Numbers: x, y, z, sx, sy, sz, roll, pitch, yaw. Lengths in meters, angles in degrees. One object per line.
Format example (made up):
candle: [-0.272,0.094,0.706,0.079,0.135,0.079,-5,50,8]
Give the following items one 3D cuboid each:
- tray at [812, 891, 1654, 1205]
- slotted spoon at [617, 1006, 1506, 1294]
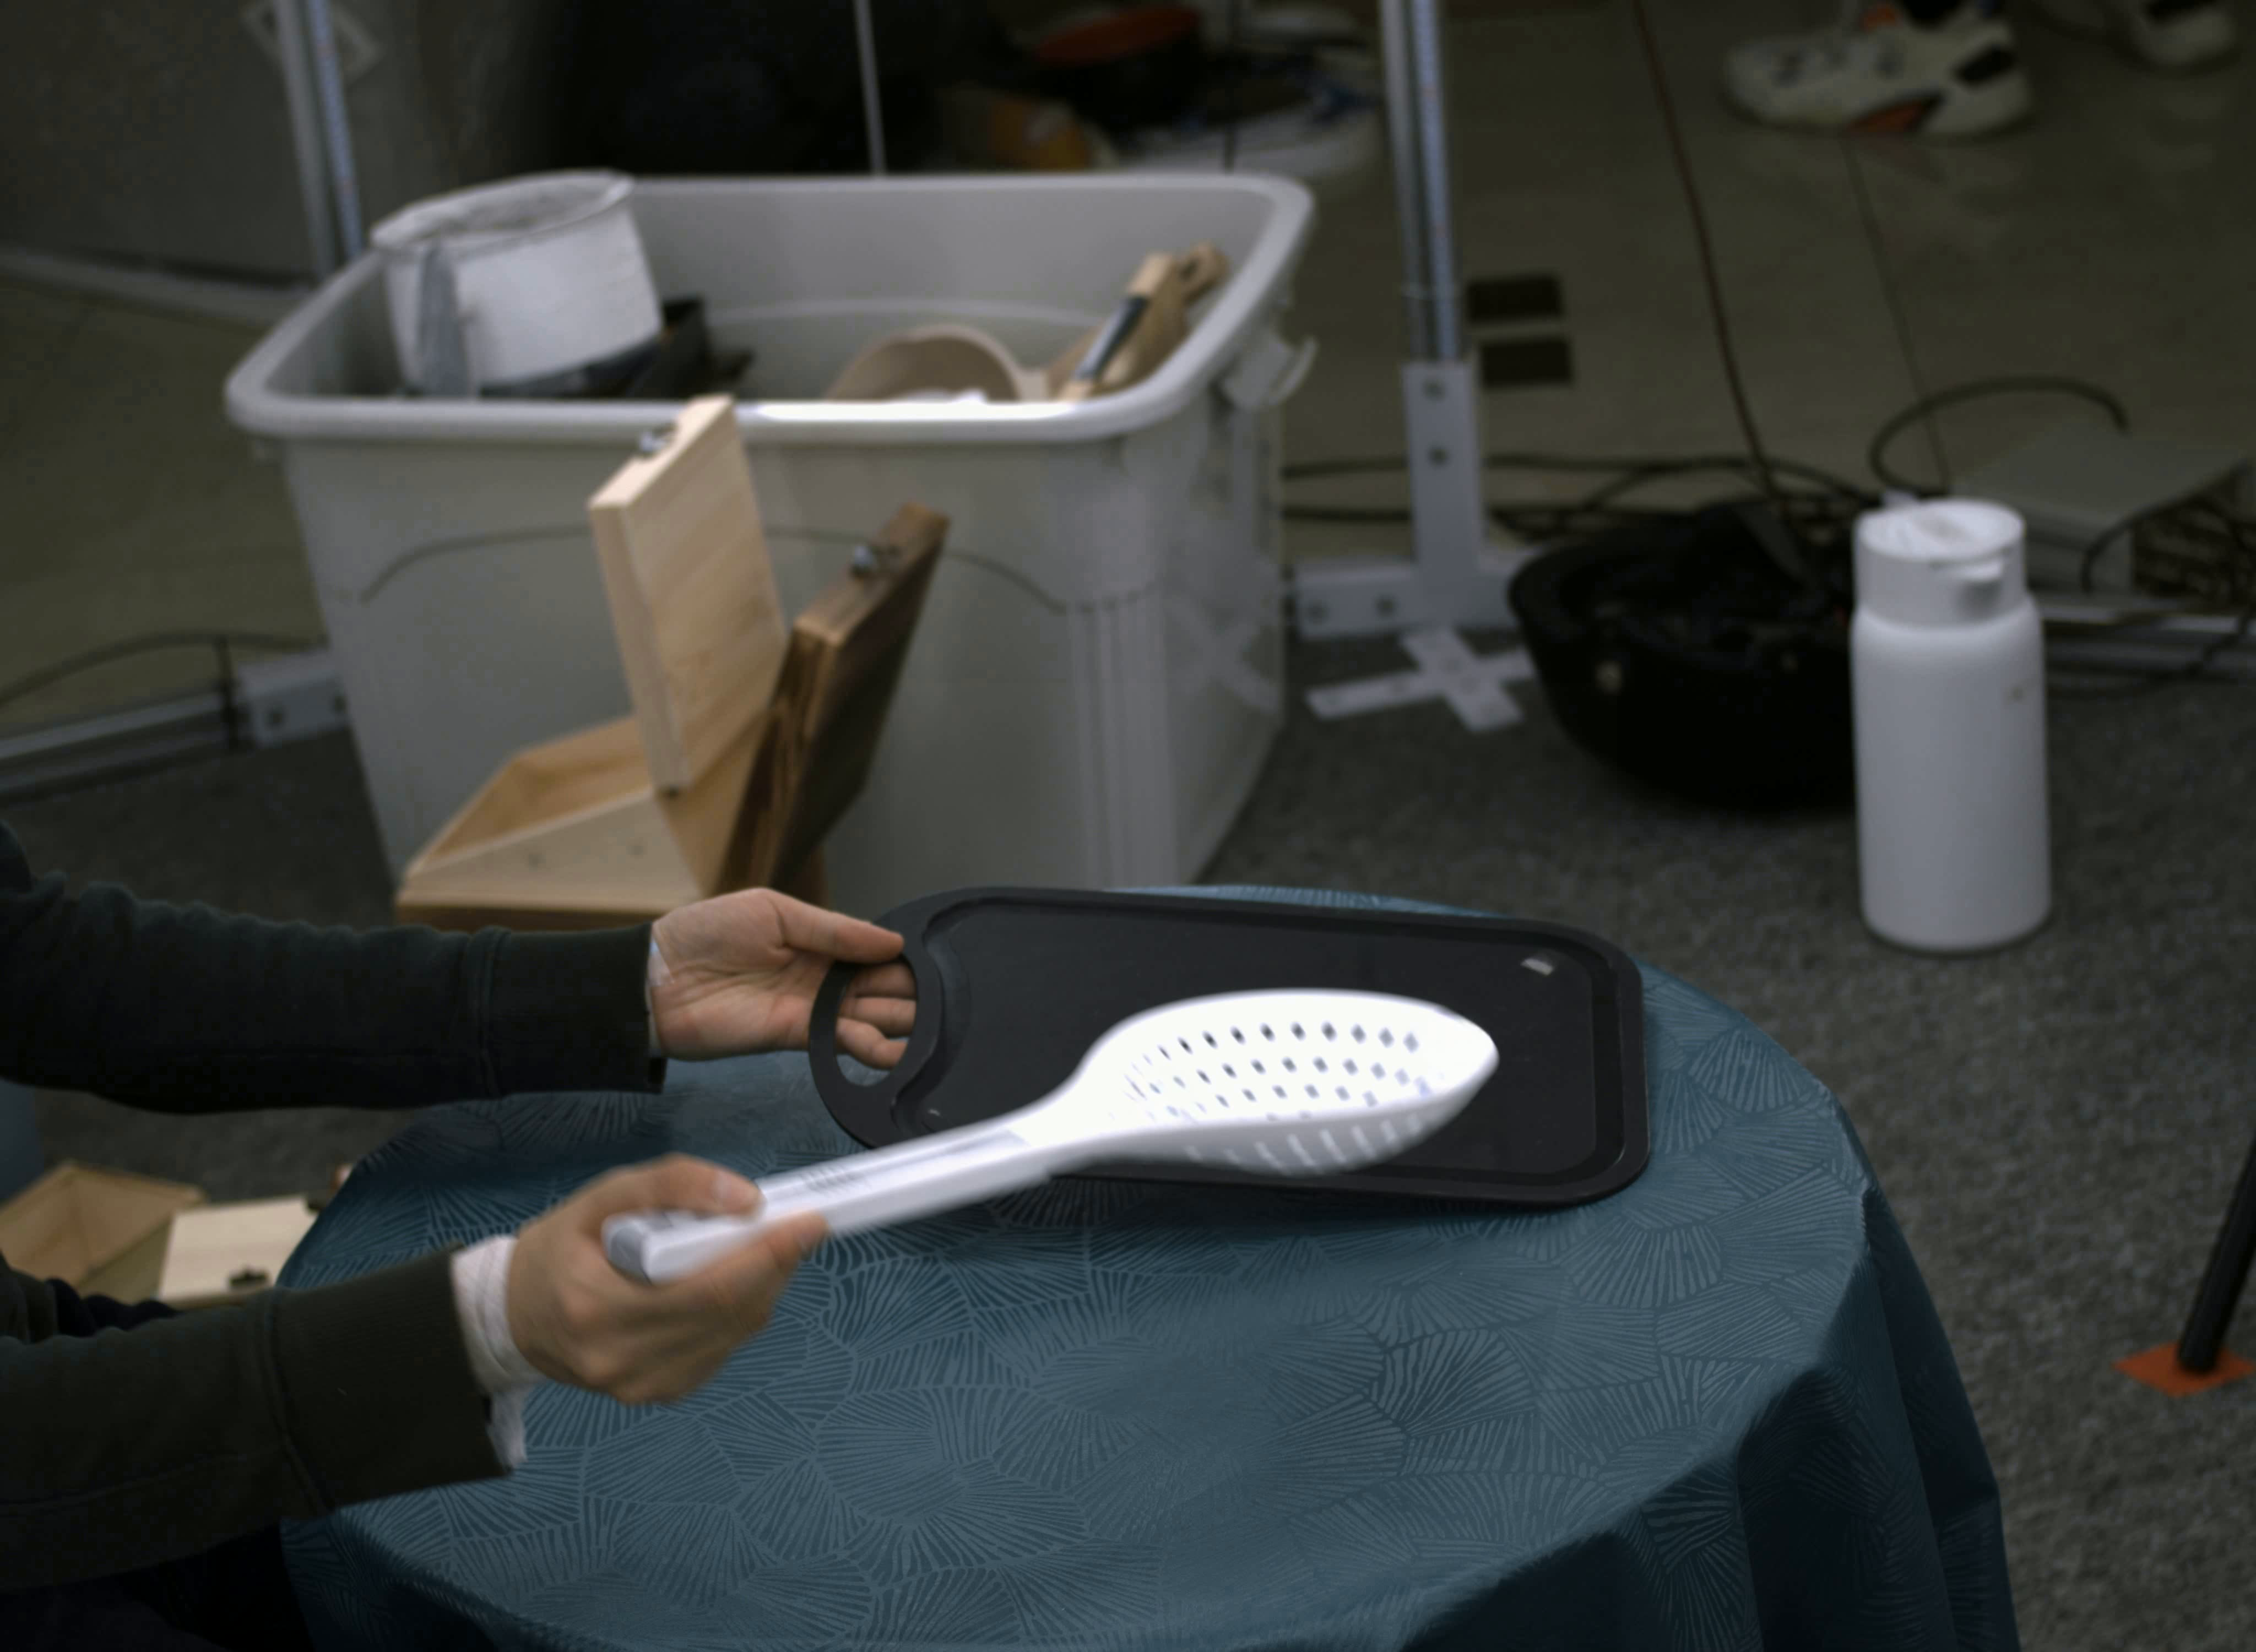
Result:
tray: [0.040,0.082,2.194,0.325,0.010,0.207,3,30,2]
slotted spoon: [-0.021,0.109,1.898,0.349,0.046,0.135,-7,15,-39]
